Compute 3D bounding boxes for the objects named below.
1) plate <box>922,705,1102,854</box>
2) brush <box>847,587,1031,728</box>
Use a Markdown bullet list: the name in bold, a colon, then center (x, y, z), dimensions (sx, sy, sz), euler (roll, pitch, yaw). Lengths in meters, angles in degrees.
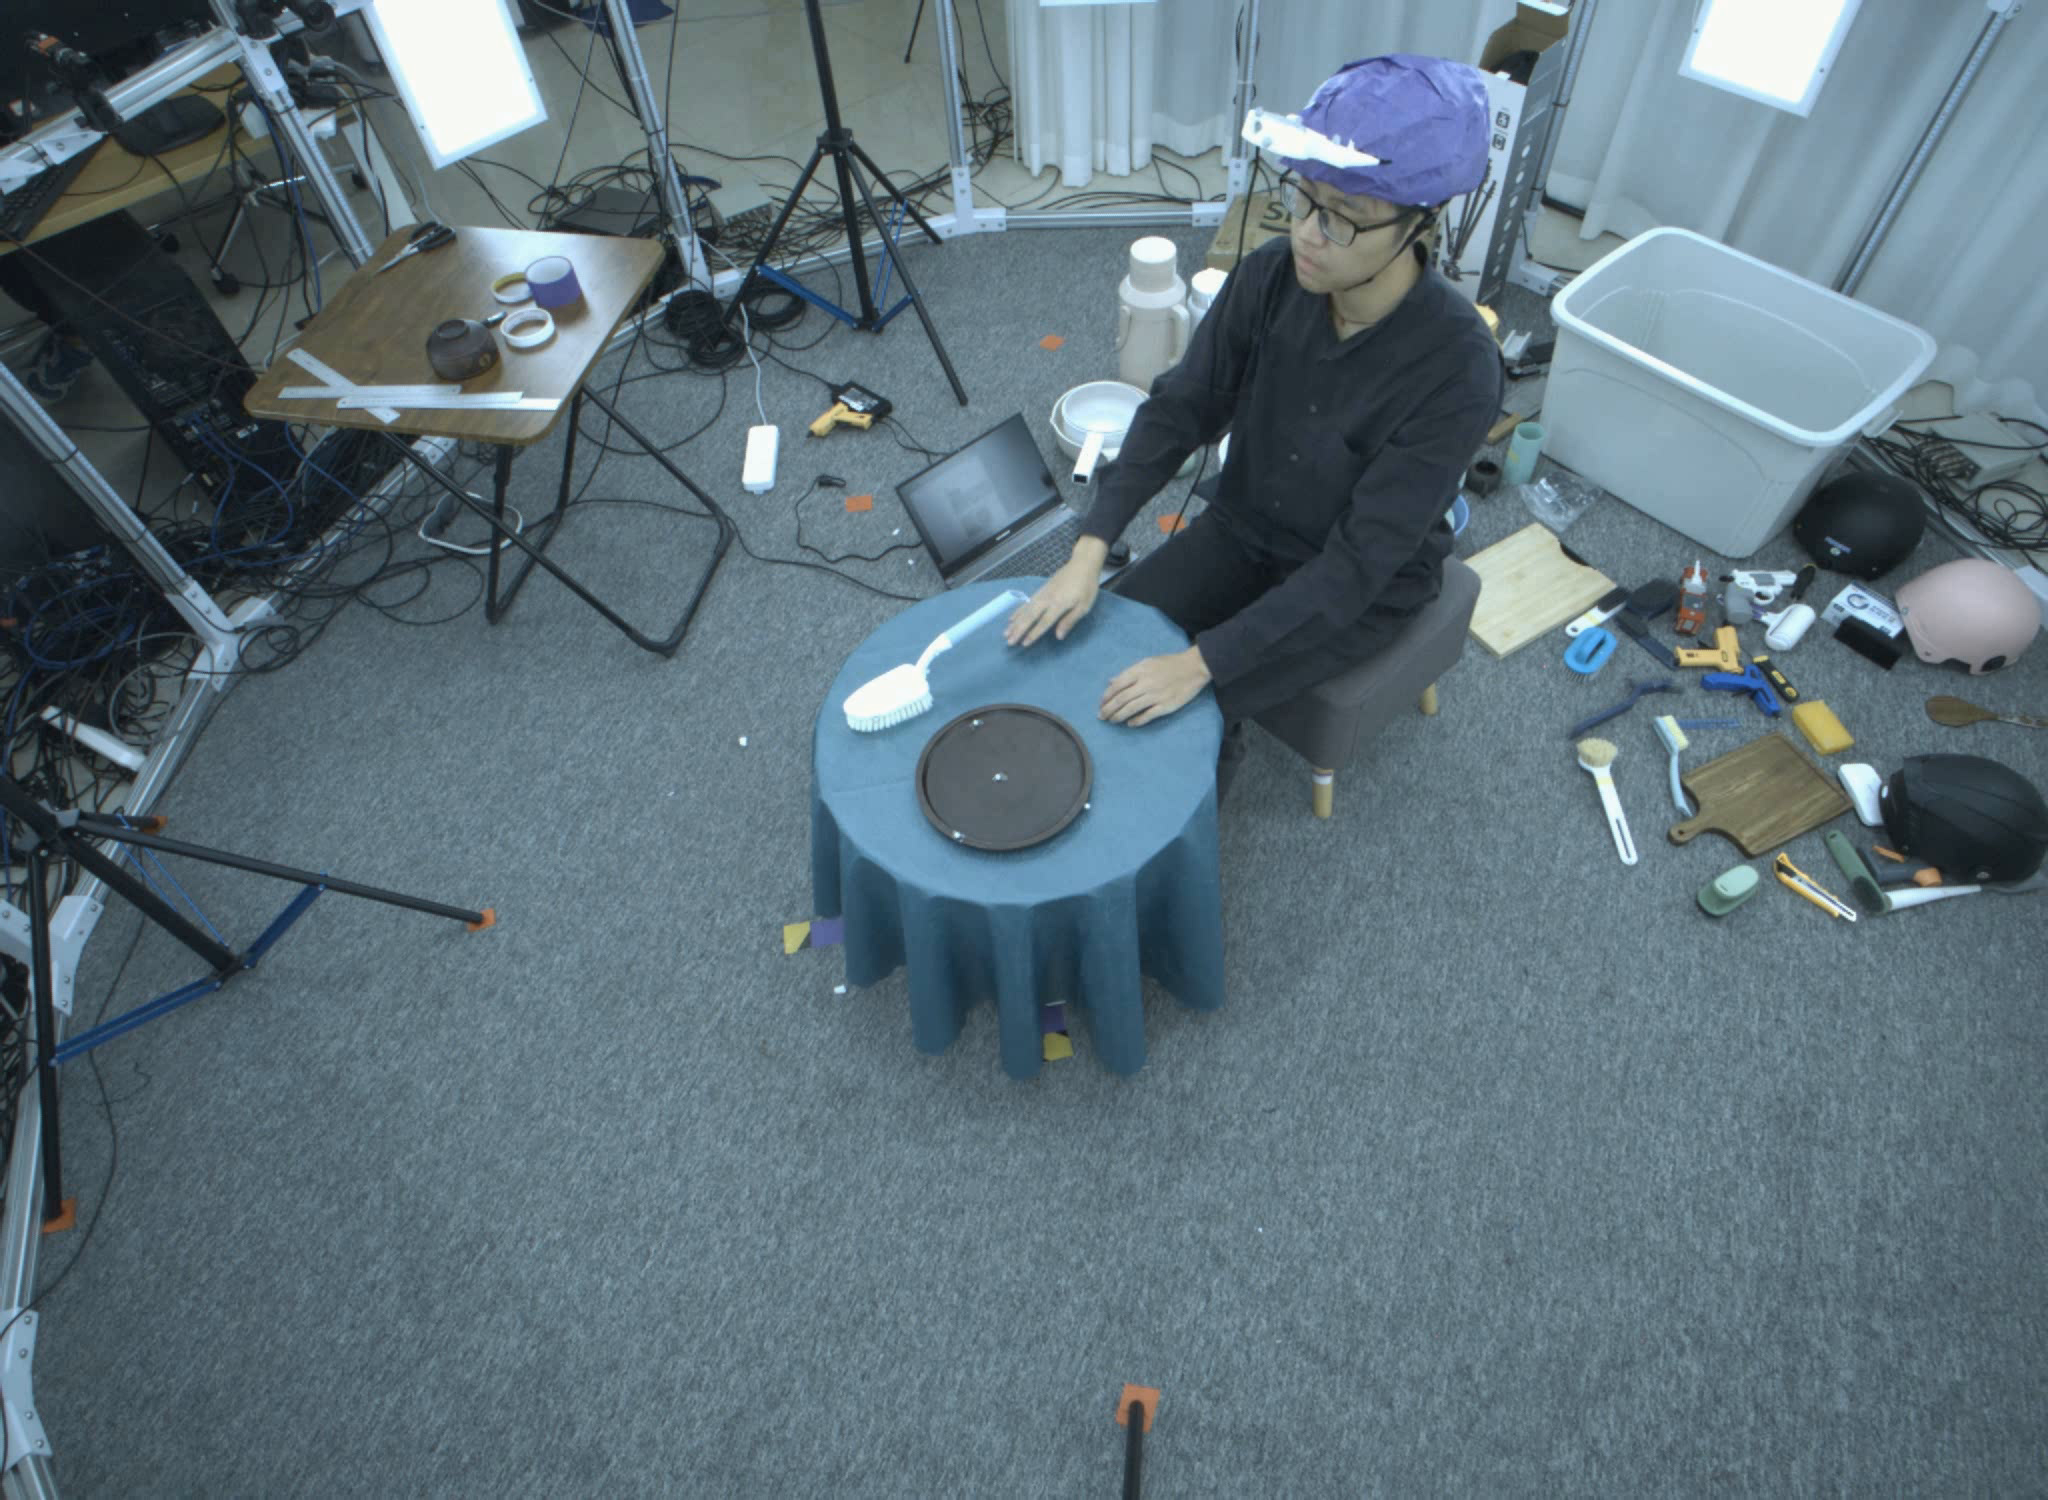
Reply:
- **plate**: center (-0.017, 0.040, 1.743), dimensions (0.254, 0.029, 0.252), euler (-1, 53, 3)
- **brush**: center (-0.118, -0.129, 1.832), dimensions (0.326, 0.084, 0.083), euler (-34, 96, -7)
